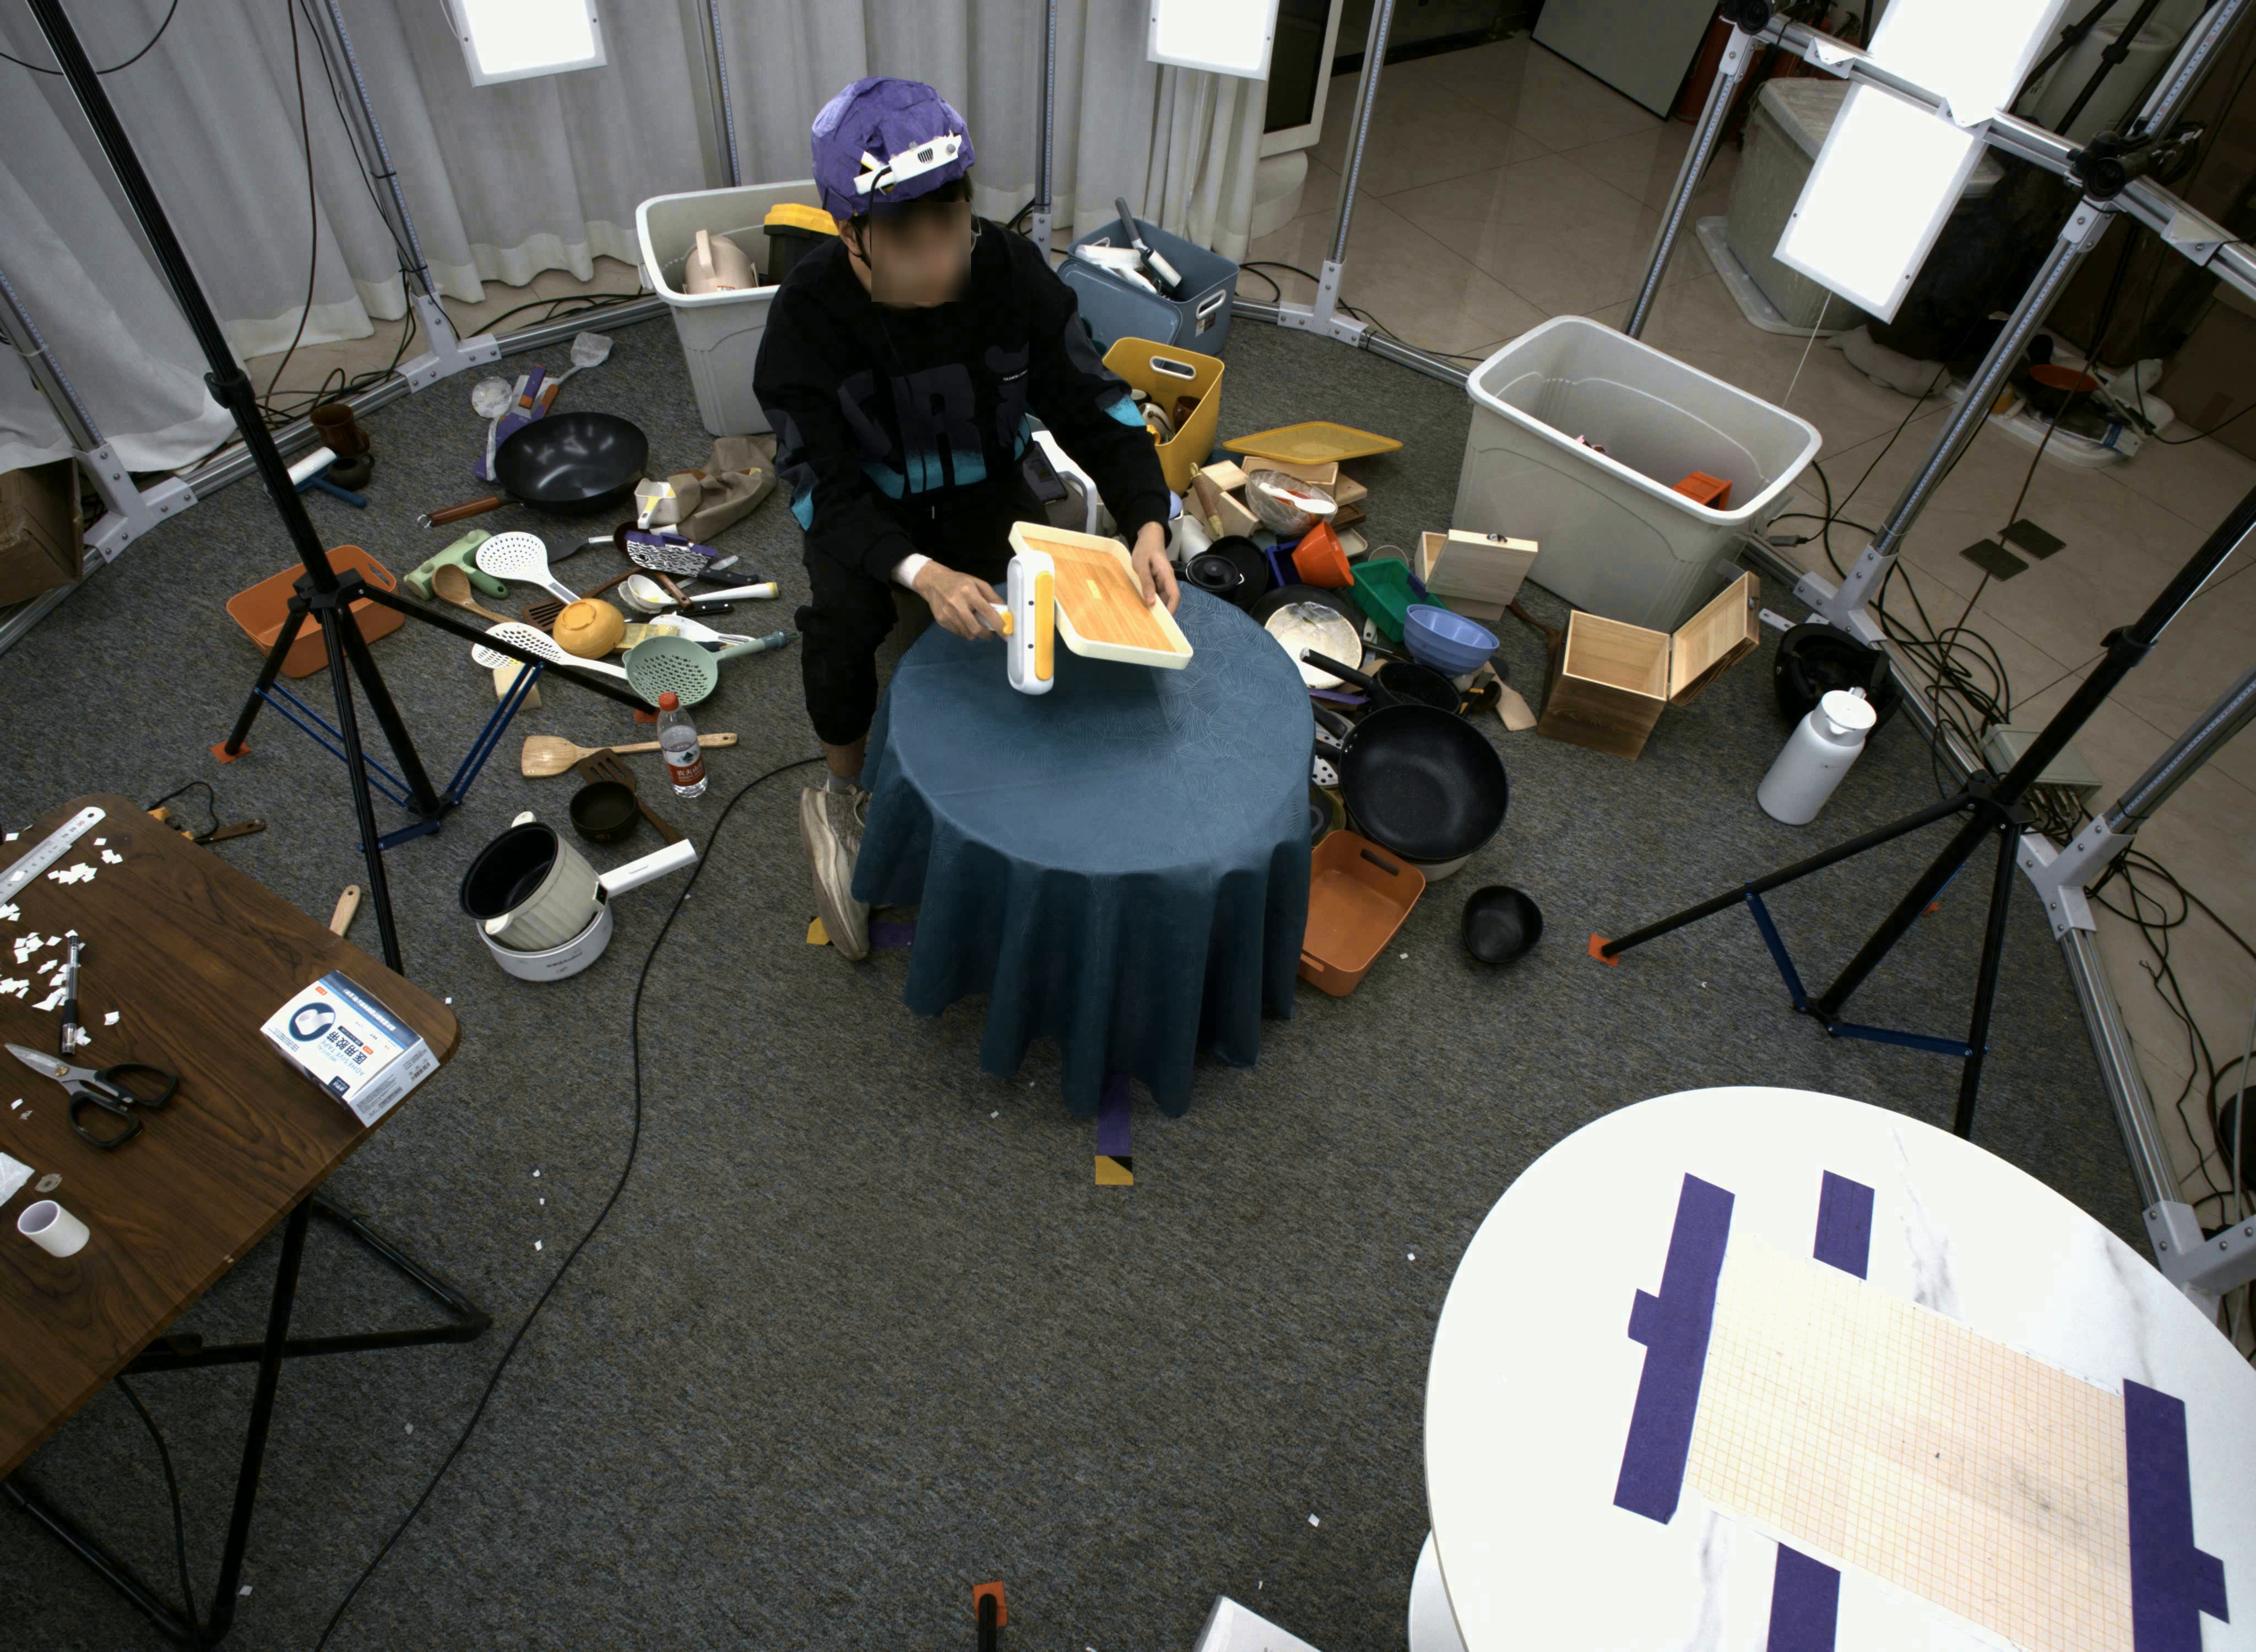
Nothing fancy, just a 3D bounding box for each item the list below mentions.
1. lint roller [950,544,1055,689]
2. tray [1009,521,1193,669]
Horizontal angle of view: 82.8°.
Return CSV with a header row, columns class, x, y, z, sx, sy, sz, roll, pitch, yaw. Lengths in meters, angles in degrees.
class,x,y,z,sx,sy,sz,roll,pitch,yaw
lint roller,-0.172,-0.288,1.770,0.074,0.190,0.194,-16,18,-34
tray,-0.042,-0.330,1.820,0.190,0.027,0.307,3,40,-29
